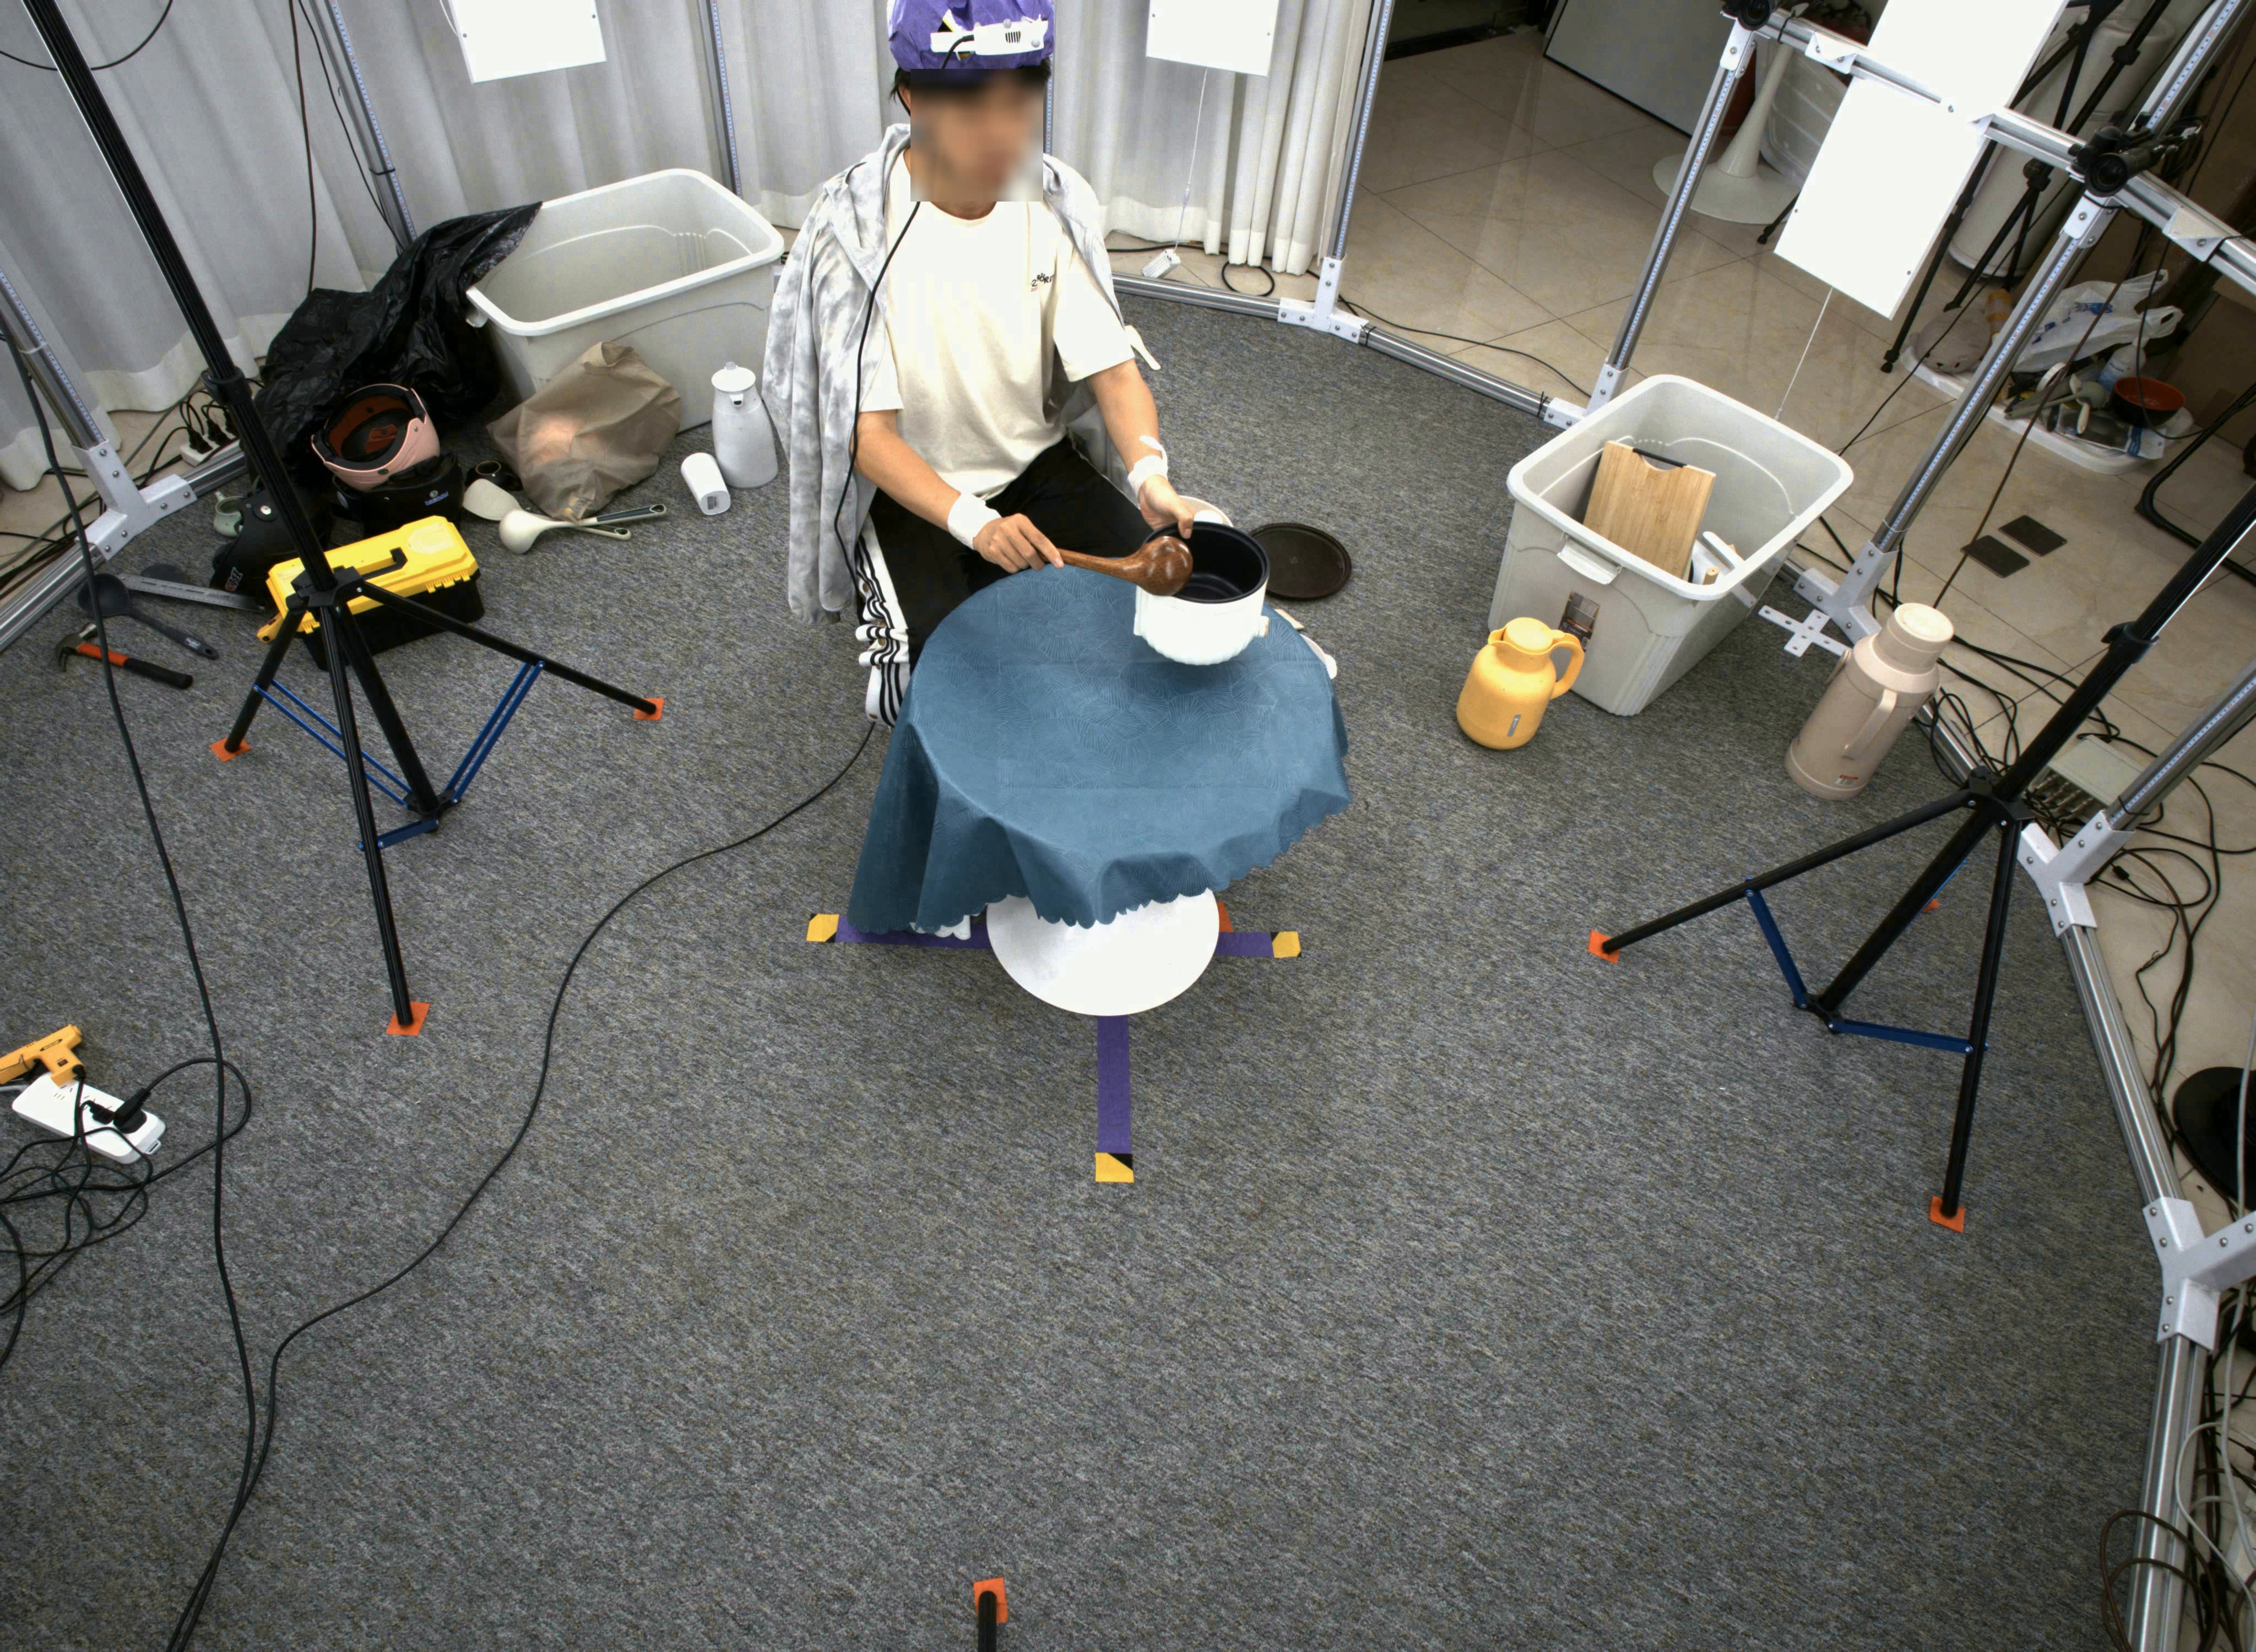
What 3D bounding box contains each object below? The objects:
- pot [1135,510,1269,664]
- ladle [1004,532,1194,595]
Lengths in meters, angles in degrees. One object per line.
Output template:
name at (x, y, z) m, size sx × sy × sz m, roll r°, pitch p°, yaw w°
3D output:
pot at (0.106, -0.322, 1.808) m, size 0.190 × 0.139 × 0.246 m, roll 4°, pitch 48°, yaw 4°
ladle at (-0.039, -0.366, 1.736) m, size 0.276 × 0.080 × 0.077 m, roll 16°, pitch 30°, yaw 33°
